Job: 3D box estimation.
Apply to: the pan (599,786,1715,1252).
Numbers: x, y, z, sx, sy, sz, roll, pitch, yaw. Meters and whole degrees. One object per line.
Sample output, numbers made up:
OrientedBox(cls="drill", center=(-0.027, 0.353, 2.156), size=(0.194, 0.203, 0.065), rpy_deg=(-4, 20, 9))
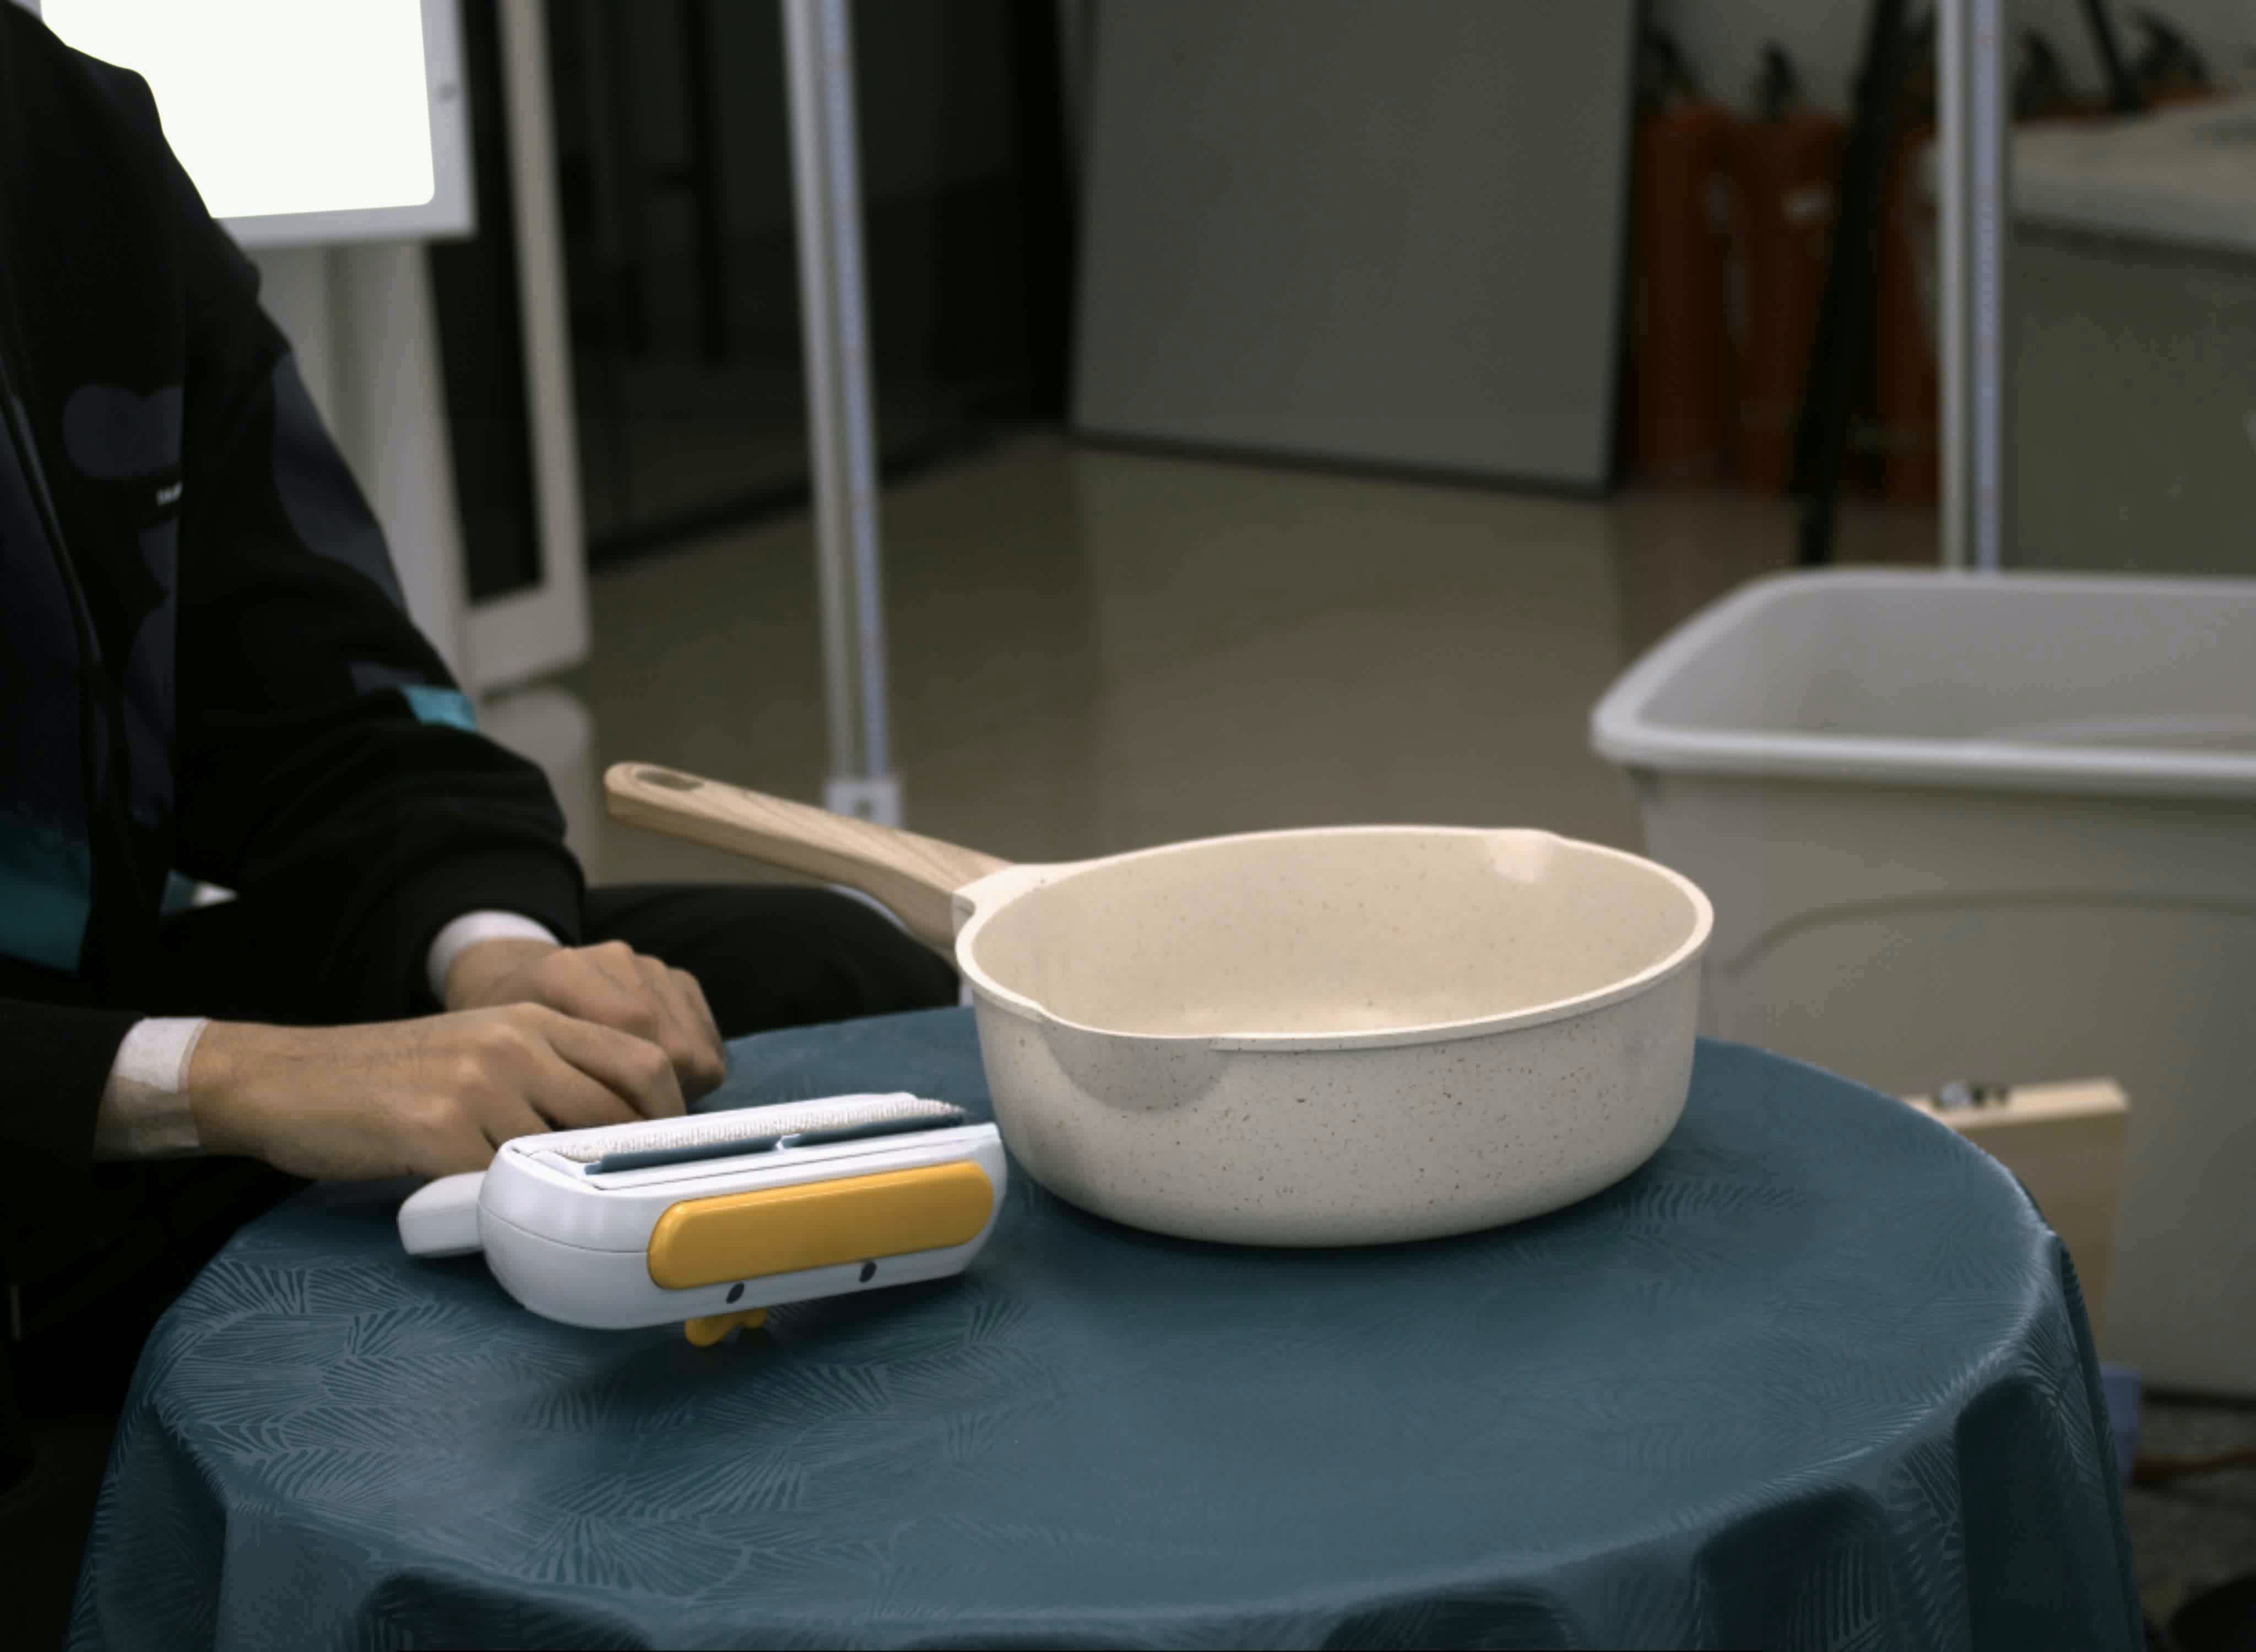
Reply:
OrientedBox(cls="pan", center=(-0.003, 0.054, 1.835), size=(0.437, 0.103, 0.259), rpy_deg=(6, 20, 35))

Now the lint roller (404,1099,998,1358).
OrientedBox(cls="lint roller", center=(-0.160, 0.118, 1.688), size=(0.188, 0.075, 0.194), rpy_deg=(-10, 12, -43))
